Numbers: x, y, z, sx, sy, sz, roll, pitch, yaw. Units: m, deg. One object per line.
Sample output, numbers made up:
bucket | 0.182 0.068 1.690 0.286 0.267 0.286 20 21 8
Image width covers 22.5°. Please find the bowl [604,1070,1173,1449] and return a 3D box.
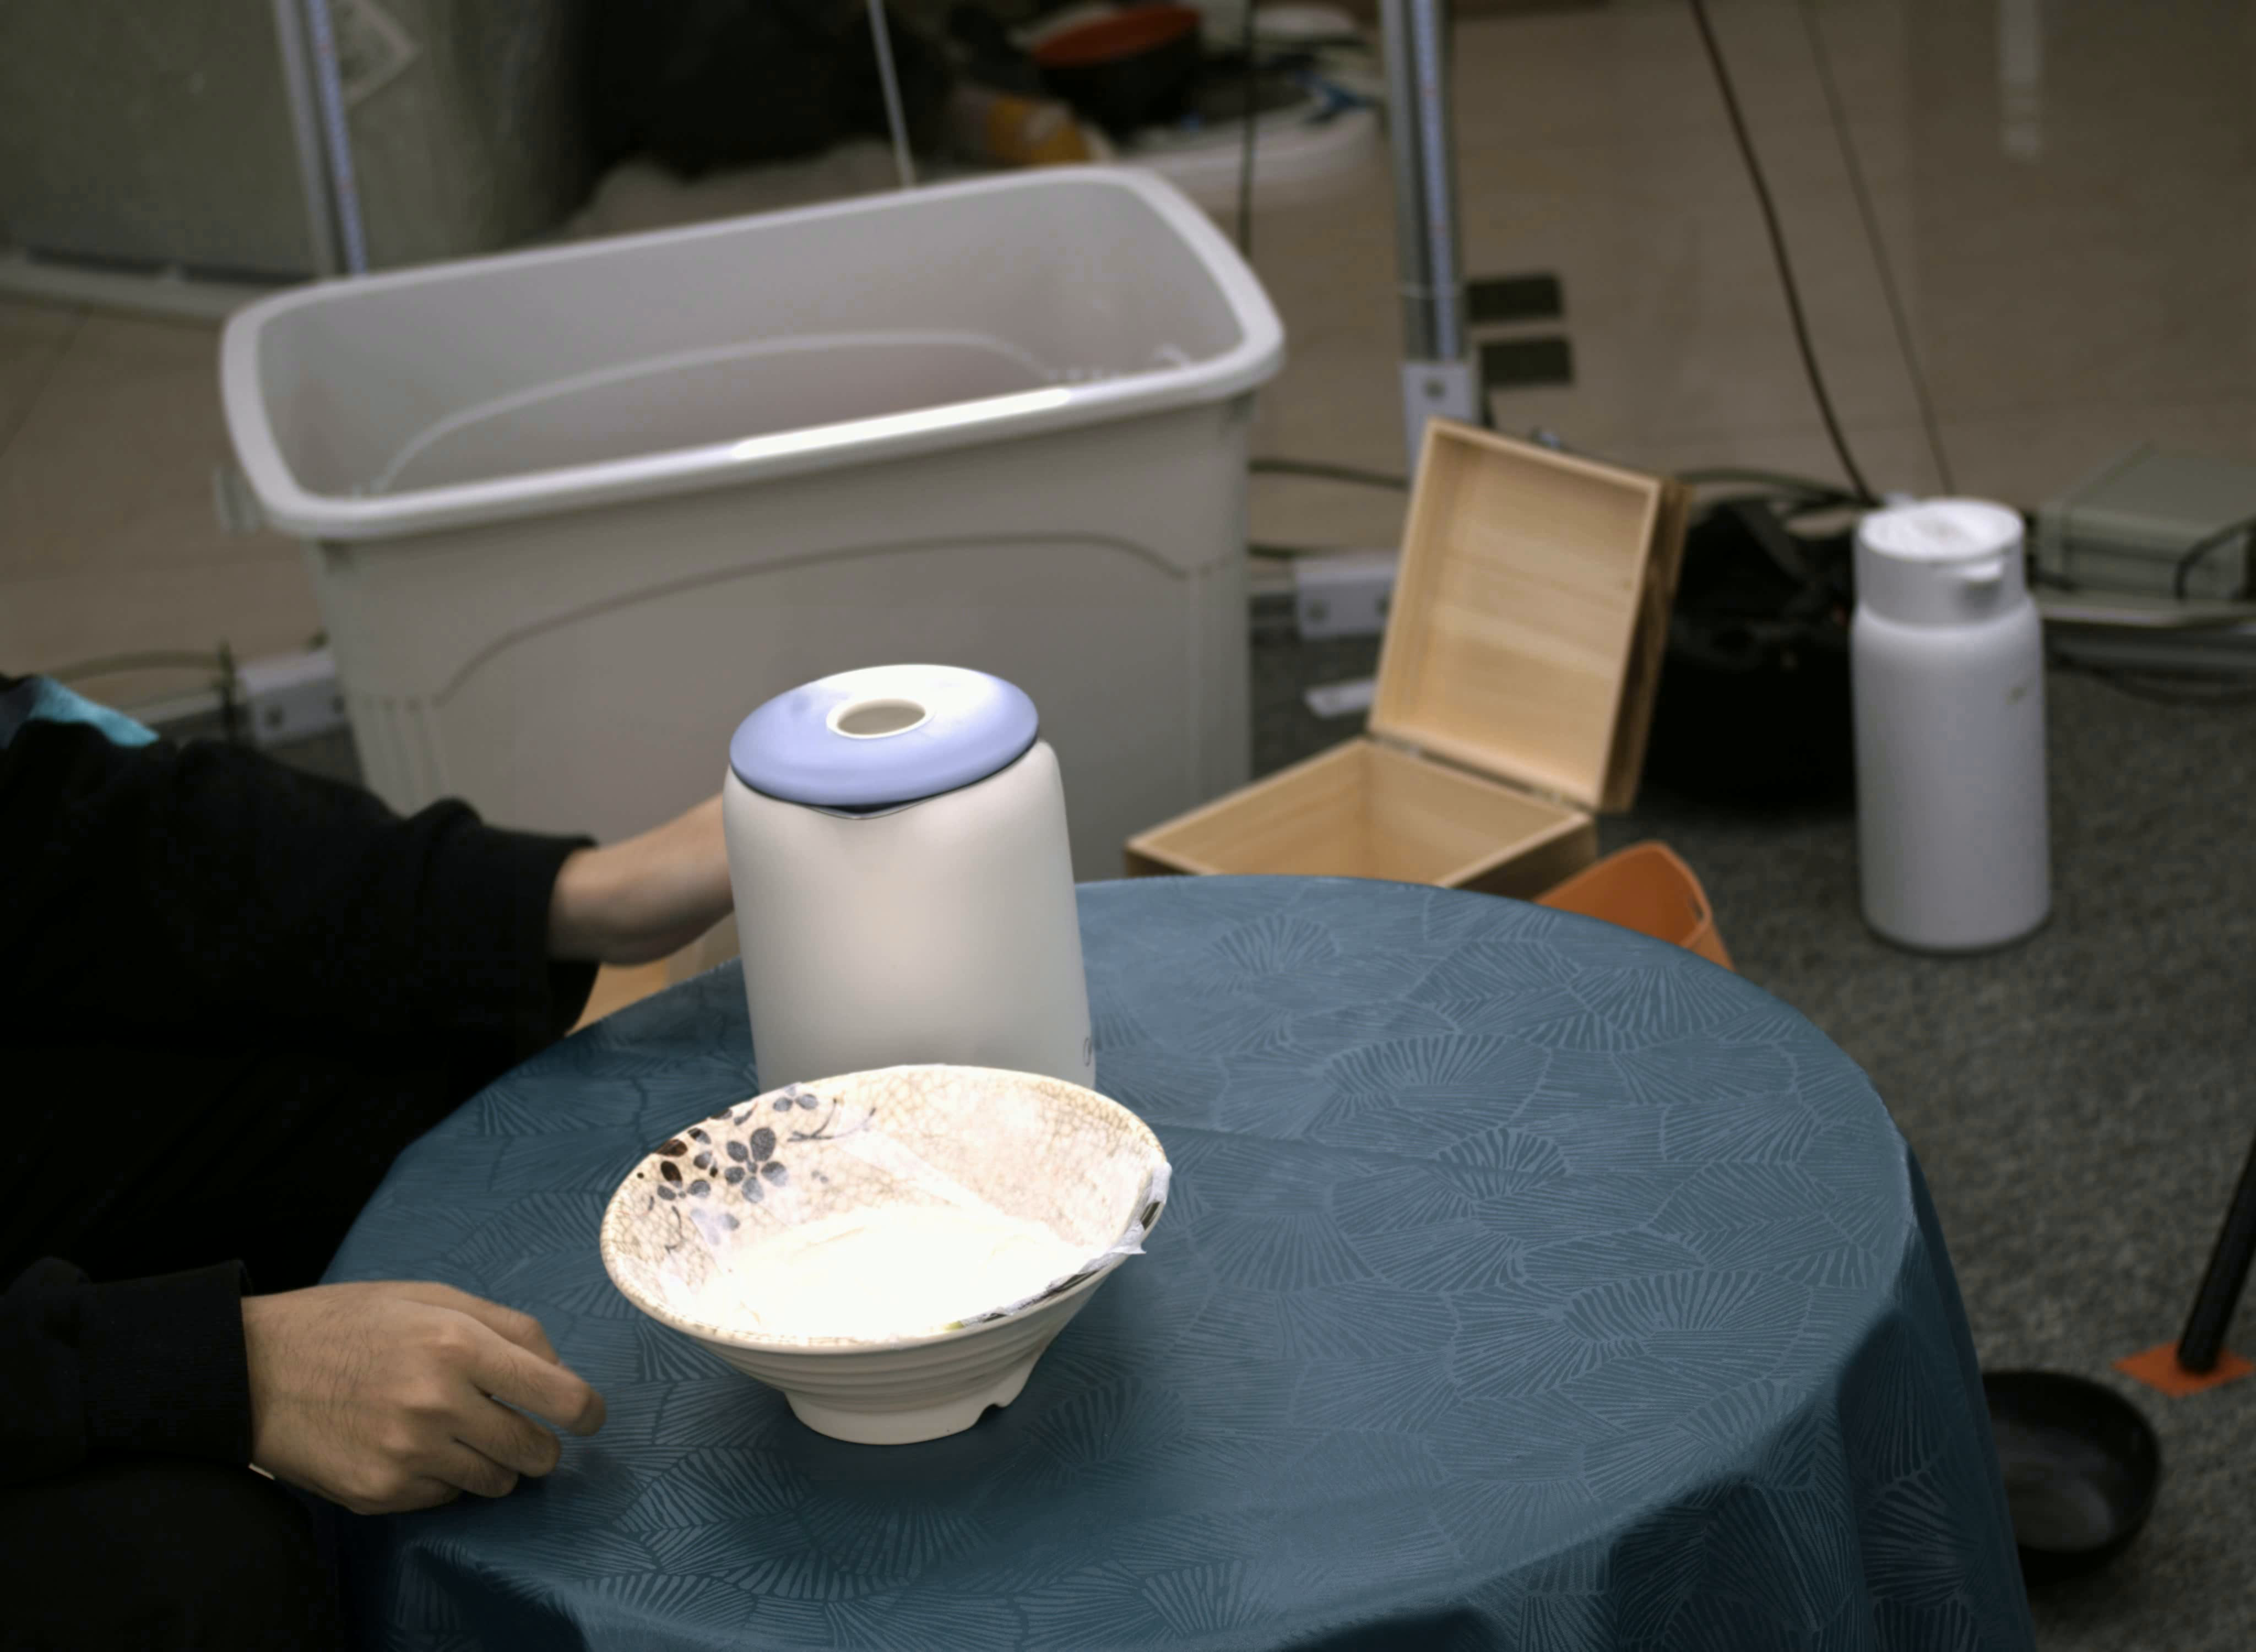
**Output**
bowl | -0.080 0.166 2.017 0.204 0.079 0.201 -8 24 4

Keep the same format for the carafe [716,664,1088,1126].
carafe | -0.085 0.029 2.196 0.132 0.185 0.188 -3 23 4
